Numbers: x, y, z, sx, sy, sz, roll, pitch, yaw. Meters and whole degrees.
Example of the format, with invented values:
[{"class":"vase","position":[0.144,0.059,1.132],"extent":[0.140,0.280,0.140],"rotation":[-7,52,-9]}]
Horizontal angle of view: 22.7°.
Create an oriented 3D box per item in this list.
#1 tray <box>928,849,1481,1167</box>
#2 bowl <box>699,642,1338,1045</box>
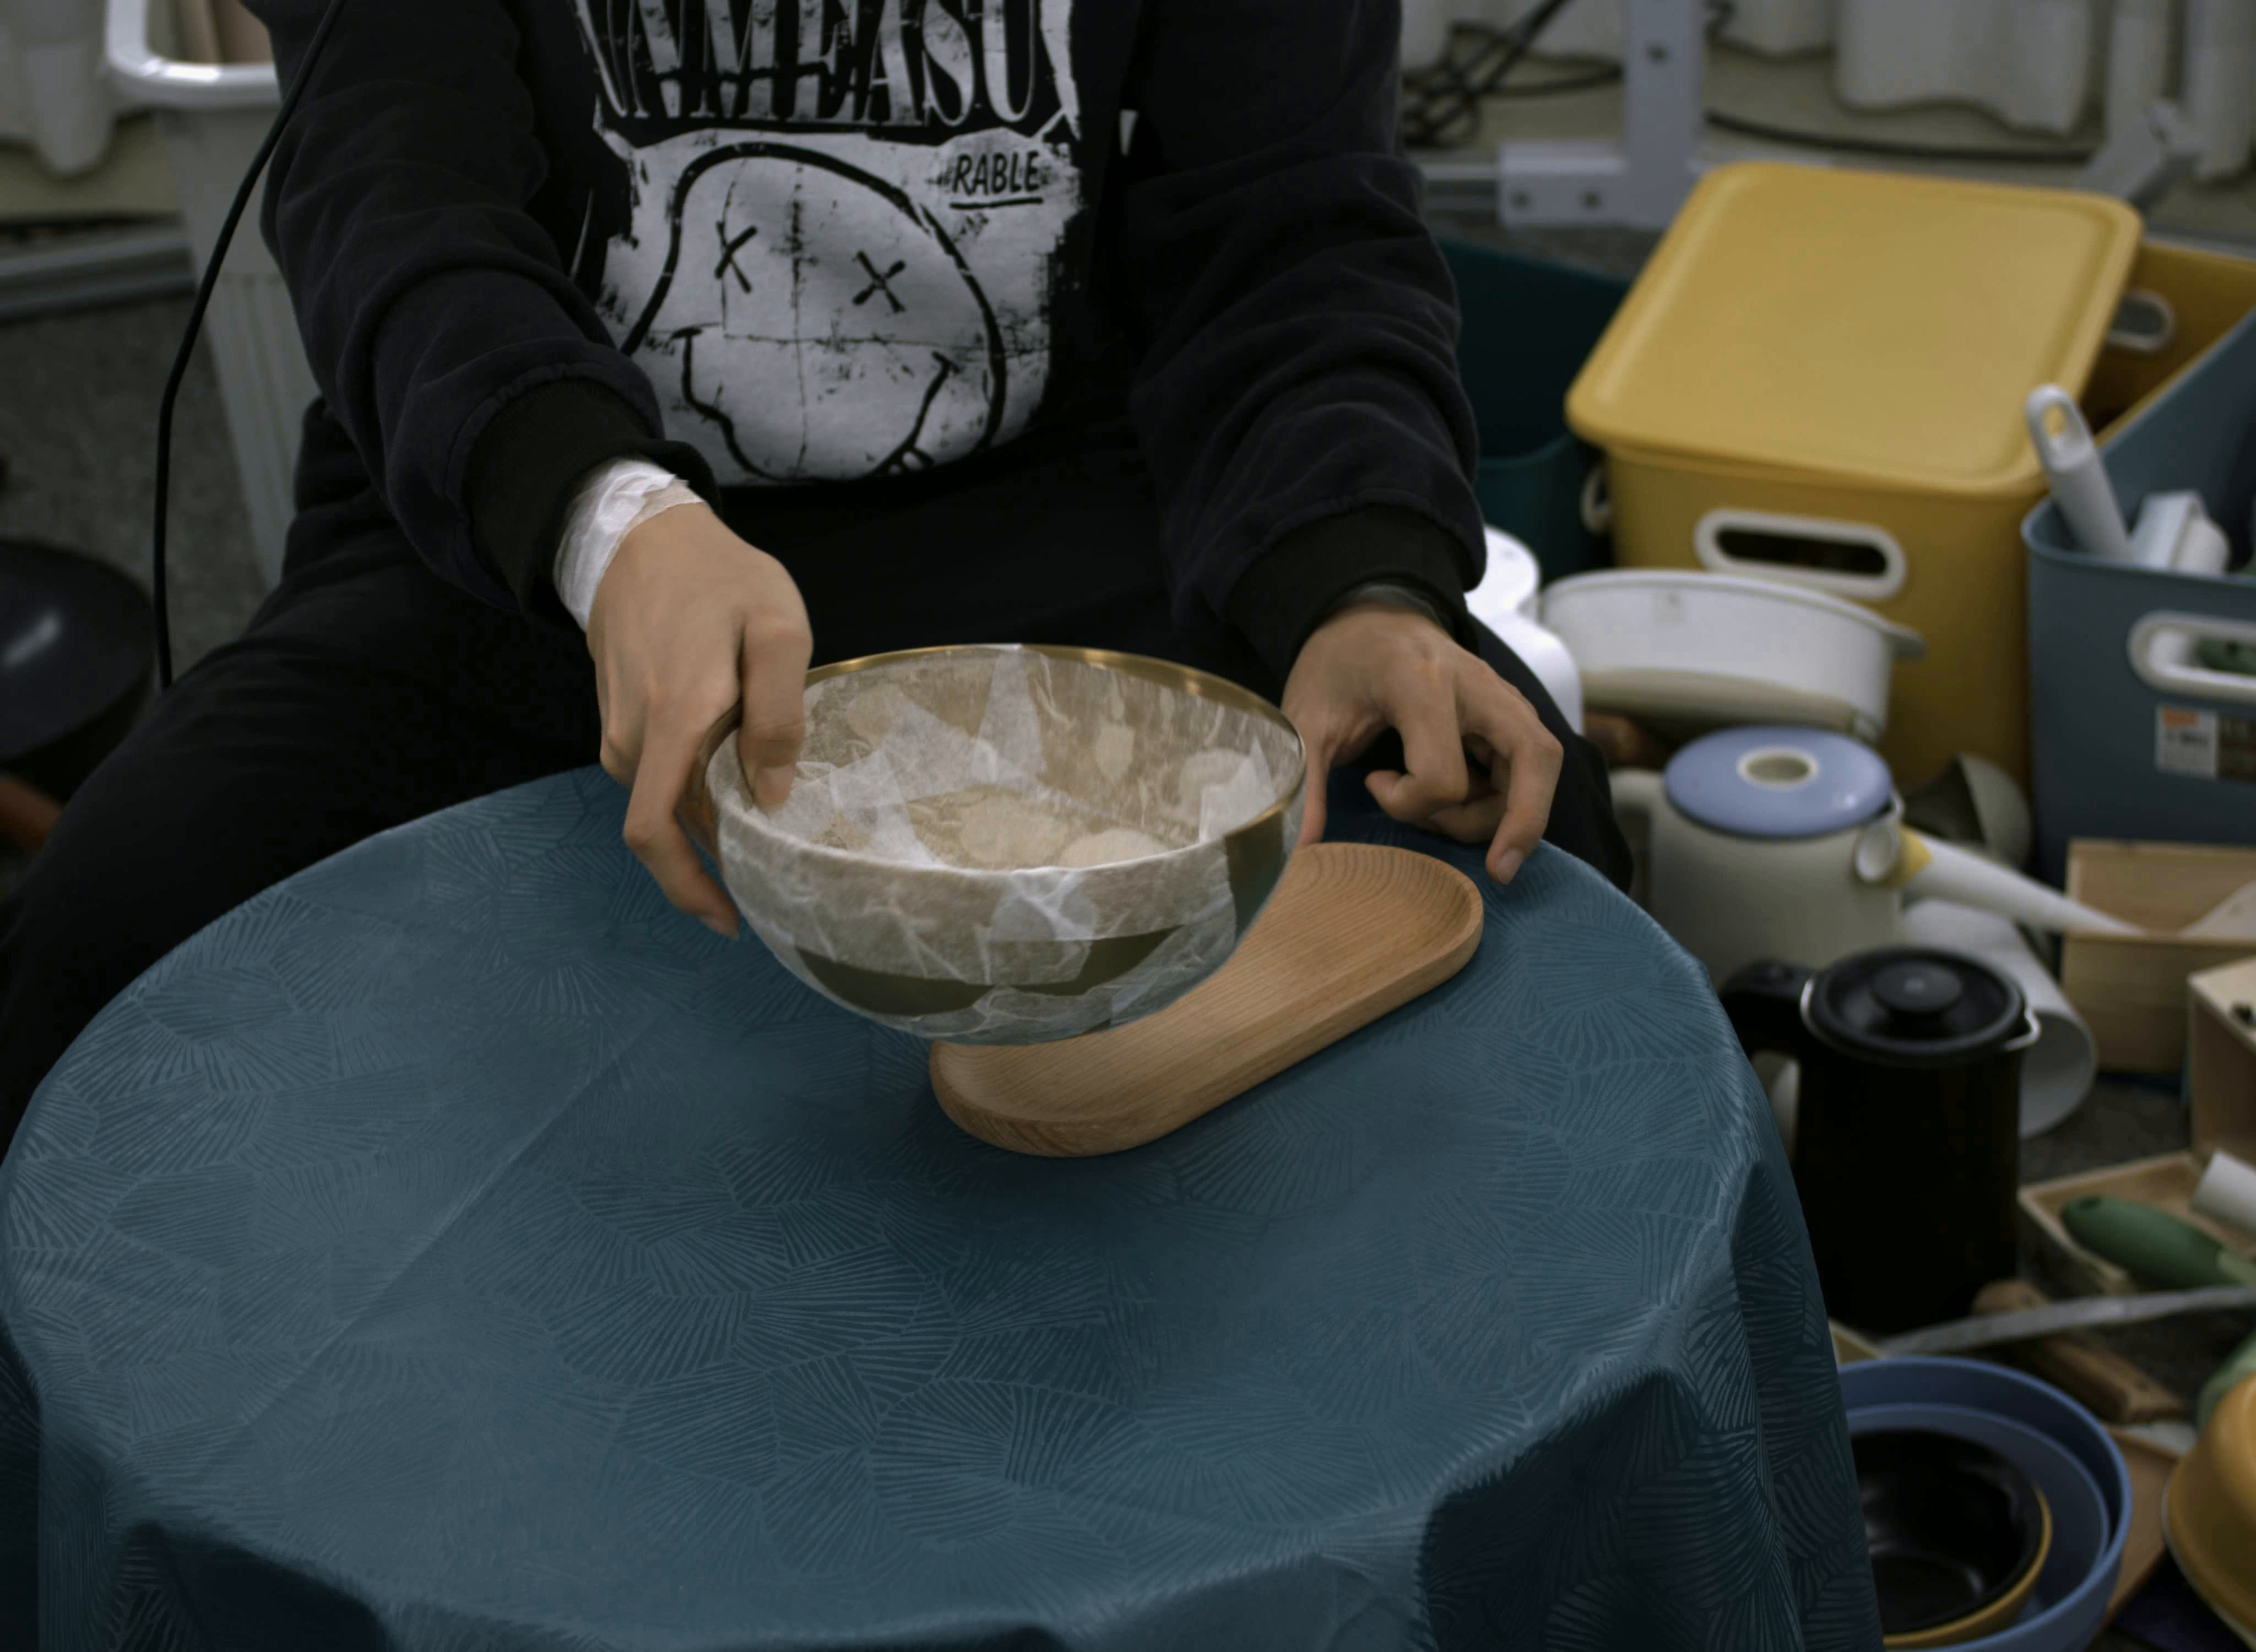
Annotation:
[{"class":"tray","position":[0.029,0.062,1.957],"extent":[0.101,0.020,0.234],"rotation":[21,37,41]},{"class":"bowl","position":[-0.037,0.015,1.851],"extent":[0.214,0.094,0.217],"rotation":[1,20,0]}]
